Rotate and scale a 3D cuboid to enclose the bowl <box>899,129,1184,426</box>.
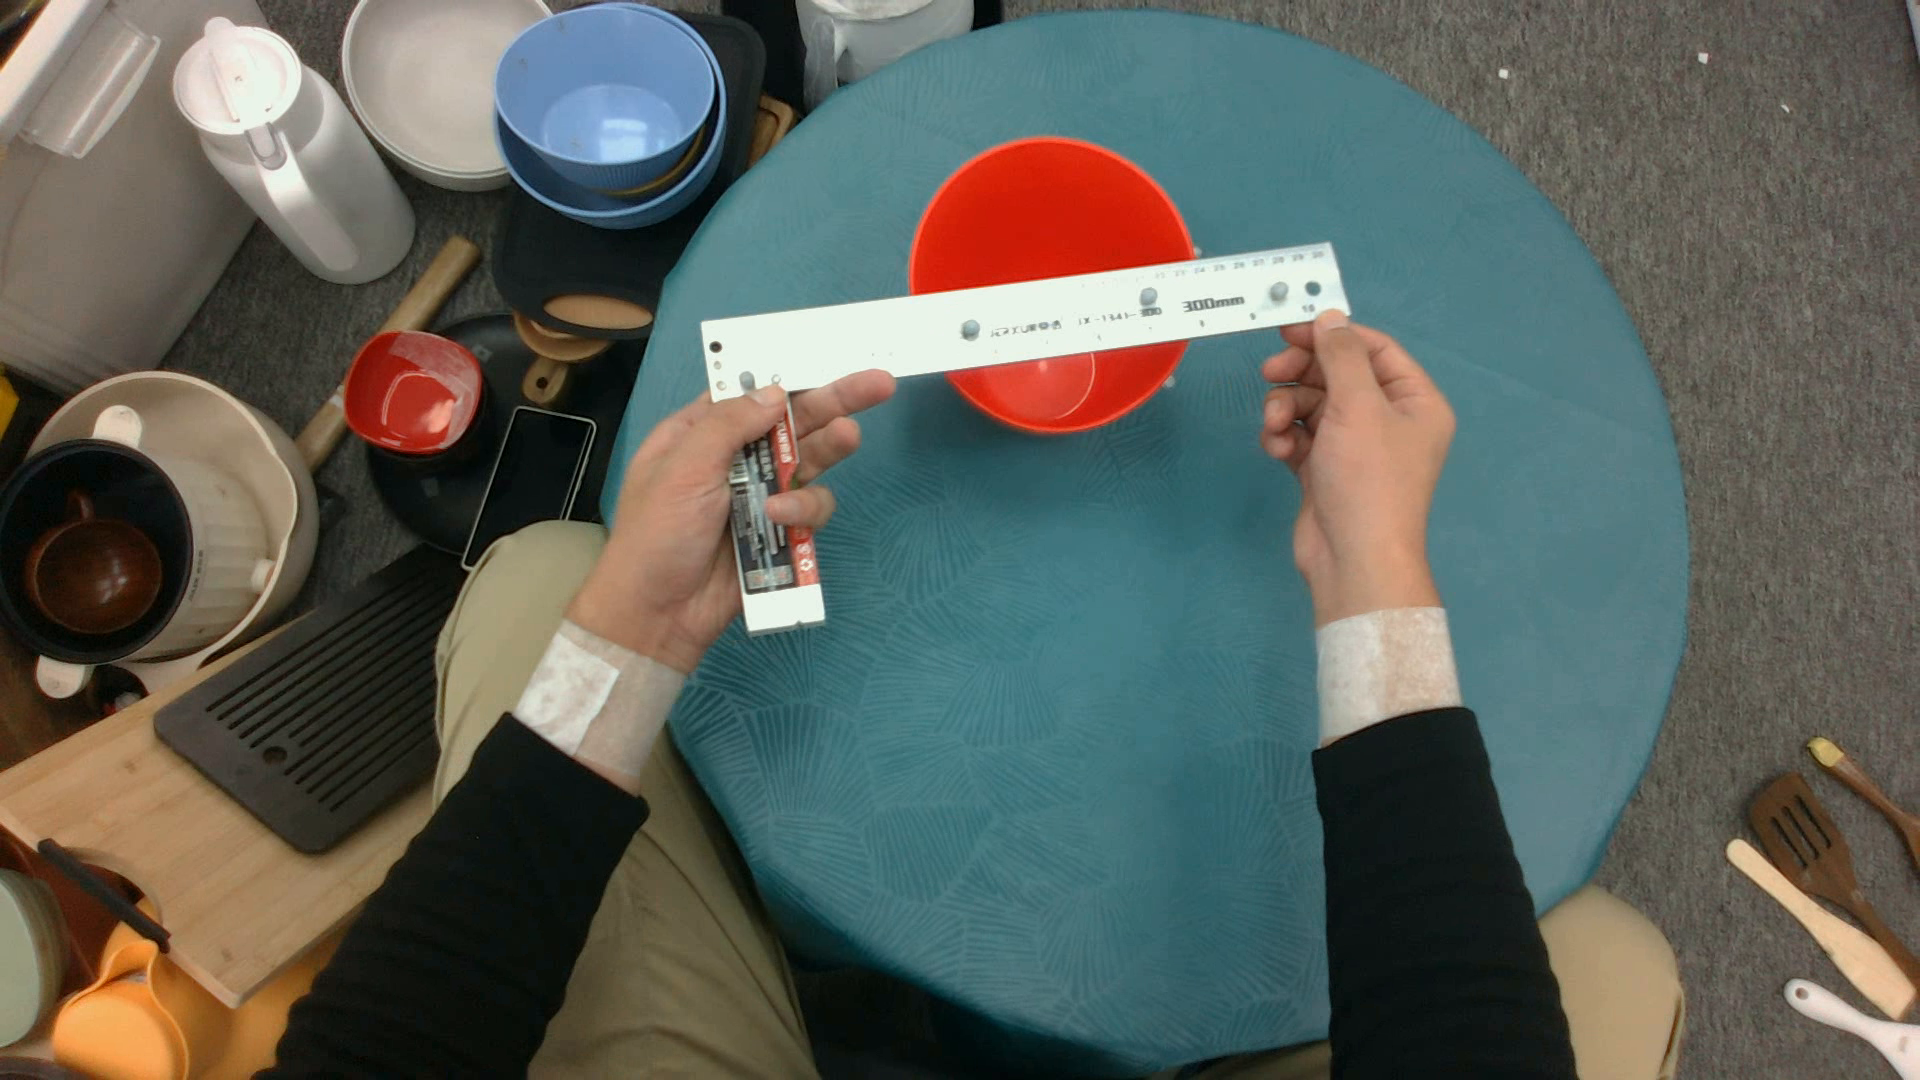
[{"bbox_3d":[0.038,-0.125,0.731,0.148,0.104,0.148,2,76,-6],"label":"bowl"}]

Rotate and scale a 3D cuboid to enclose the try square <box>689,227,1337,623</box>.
[{"bbox_3d":[0.038,-0.059,0.643,0.313,0.016,0.152,-9,77,-8],"label":"try square"}]
